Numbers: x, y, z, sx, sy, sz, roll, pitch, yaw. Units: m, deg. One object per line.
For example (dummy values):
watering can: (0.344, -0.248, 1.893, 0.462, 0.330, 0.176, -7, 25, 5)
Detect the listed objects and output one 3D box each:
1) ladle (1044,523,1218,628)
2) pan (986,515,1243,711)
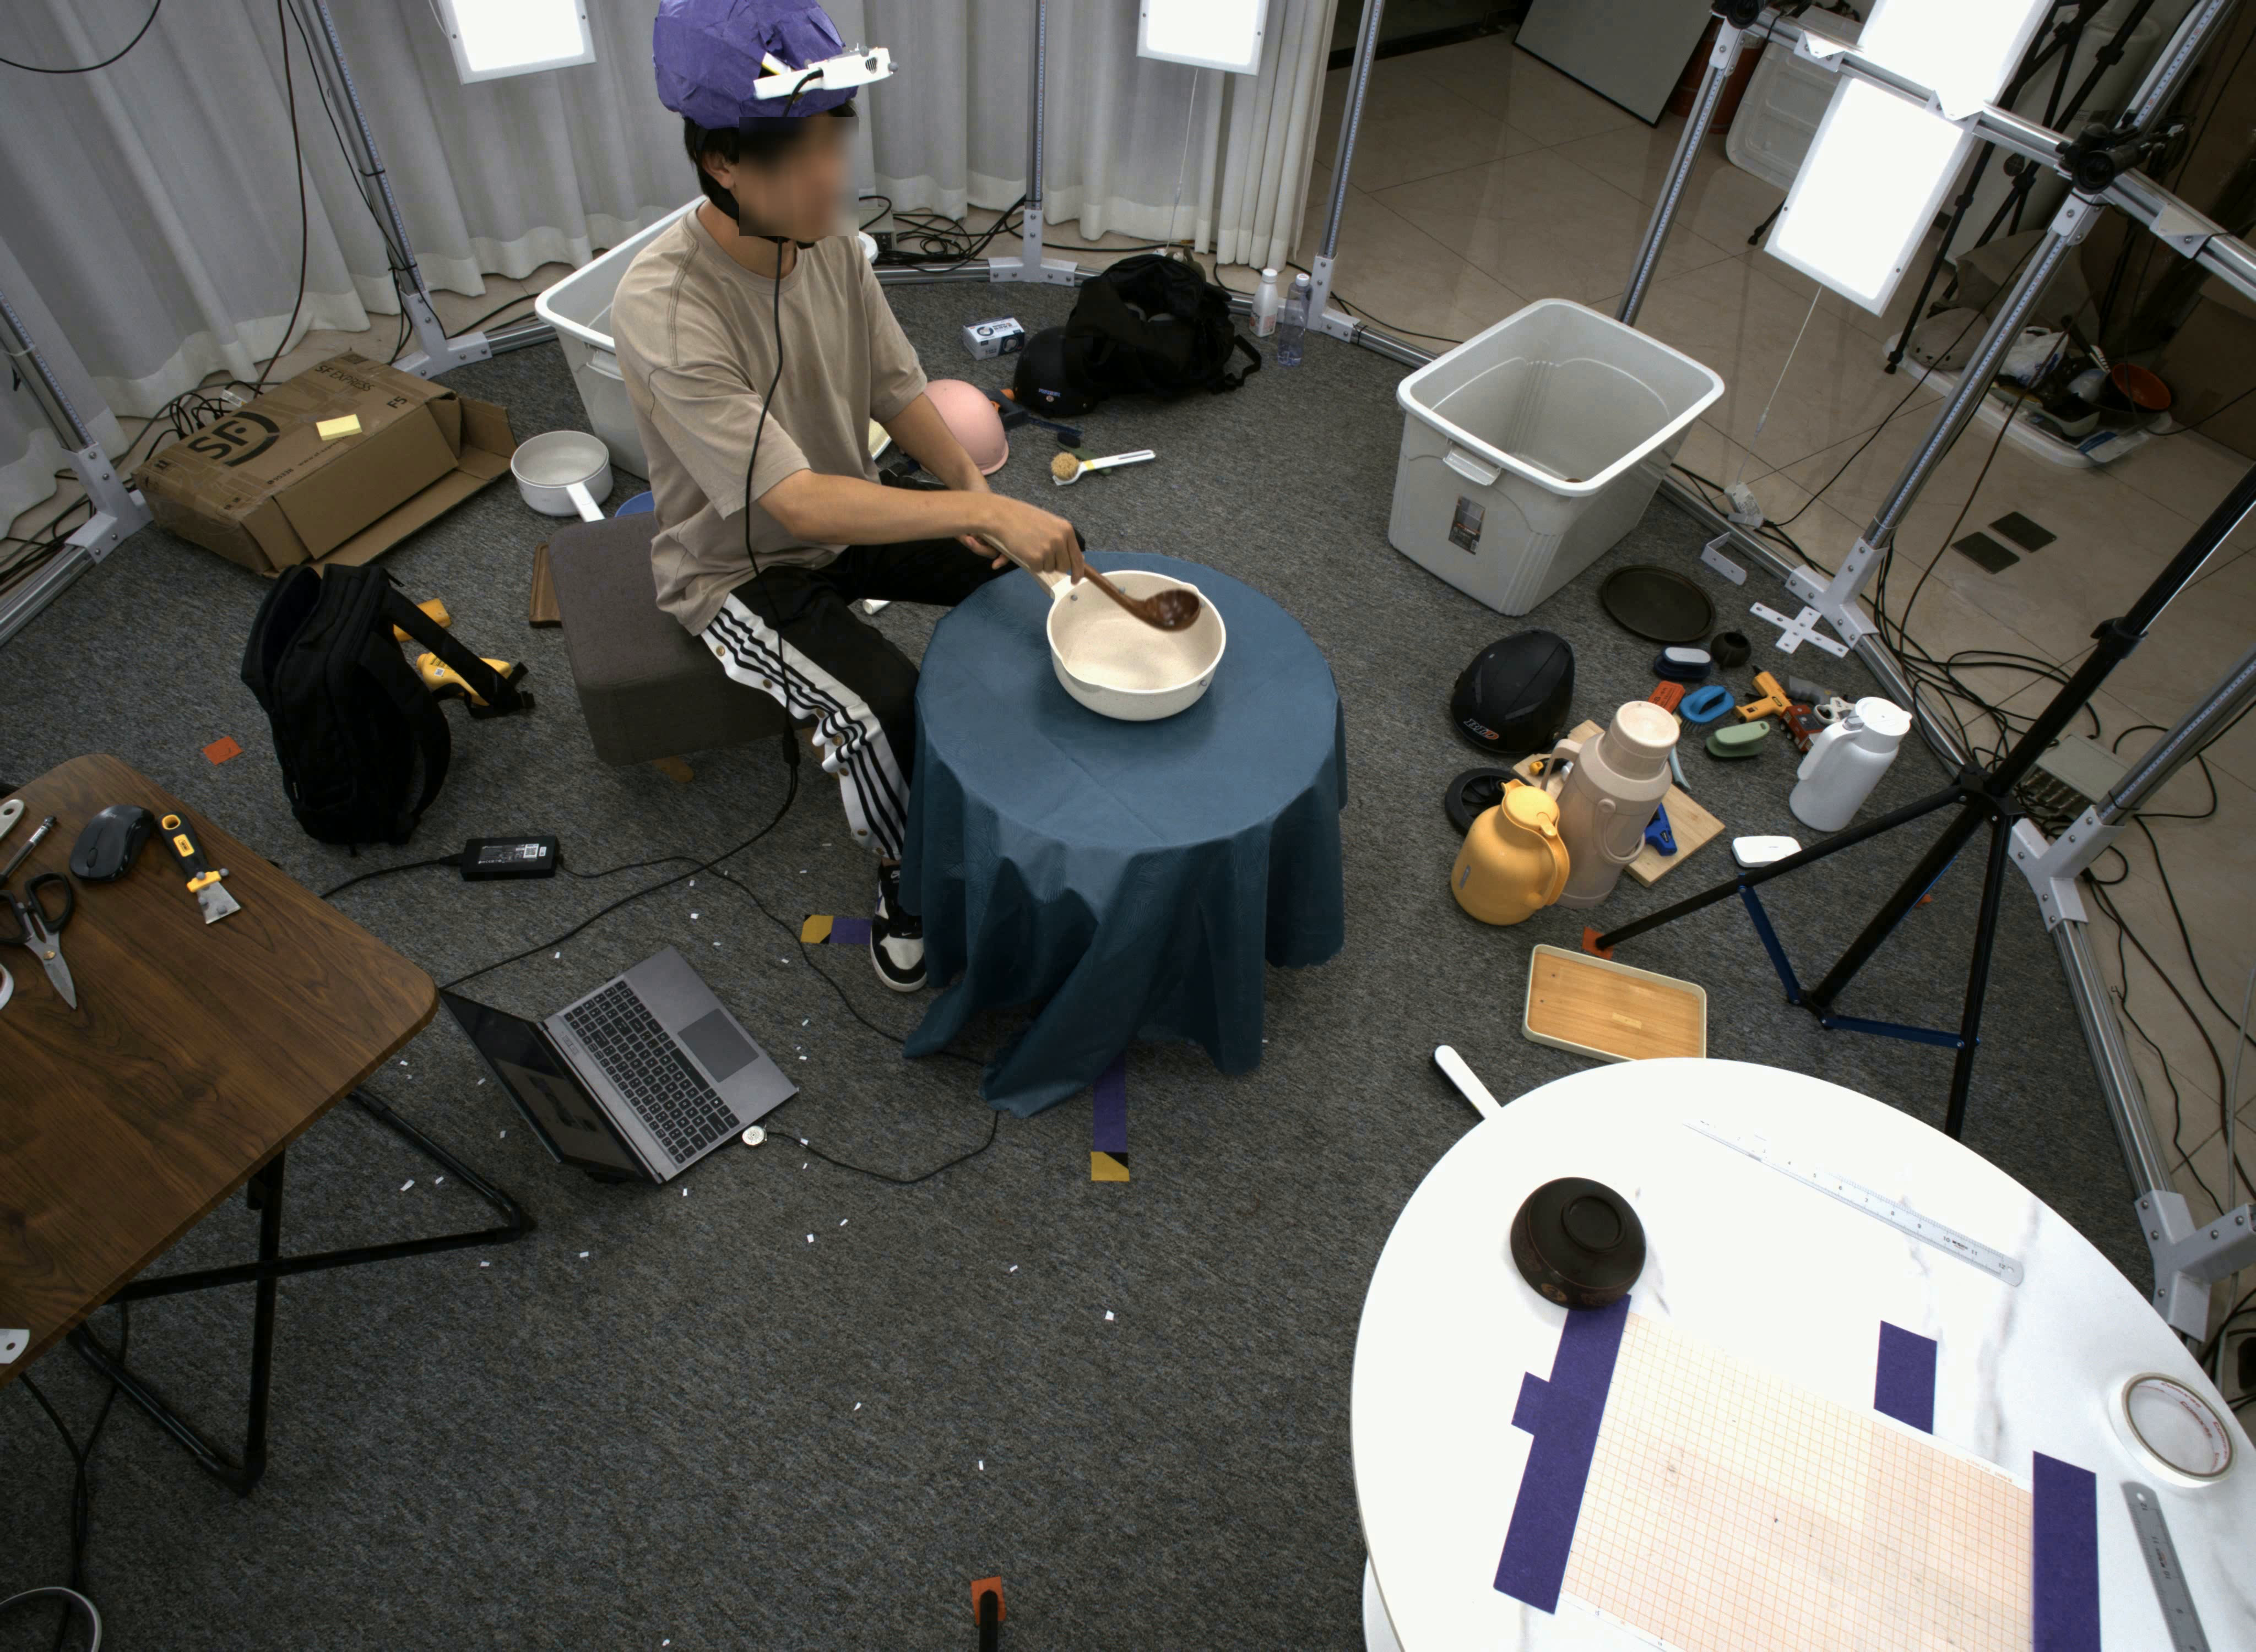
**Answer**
ladle: (0.012, -0.349, 1.734, 0.269, 0.076, 0.084, 31, 22, -35)
pan: (-0.037, -0.316, 1.862, 0.440, 0.099, 0.266, 33, 55, 23)
